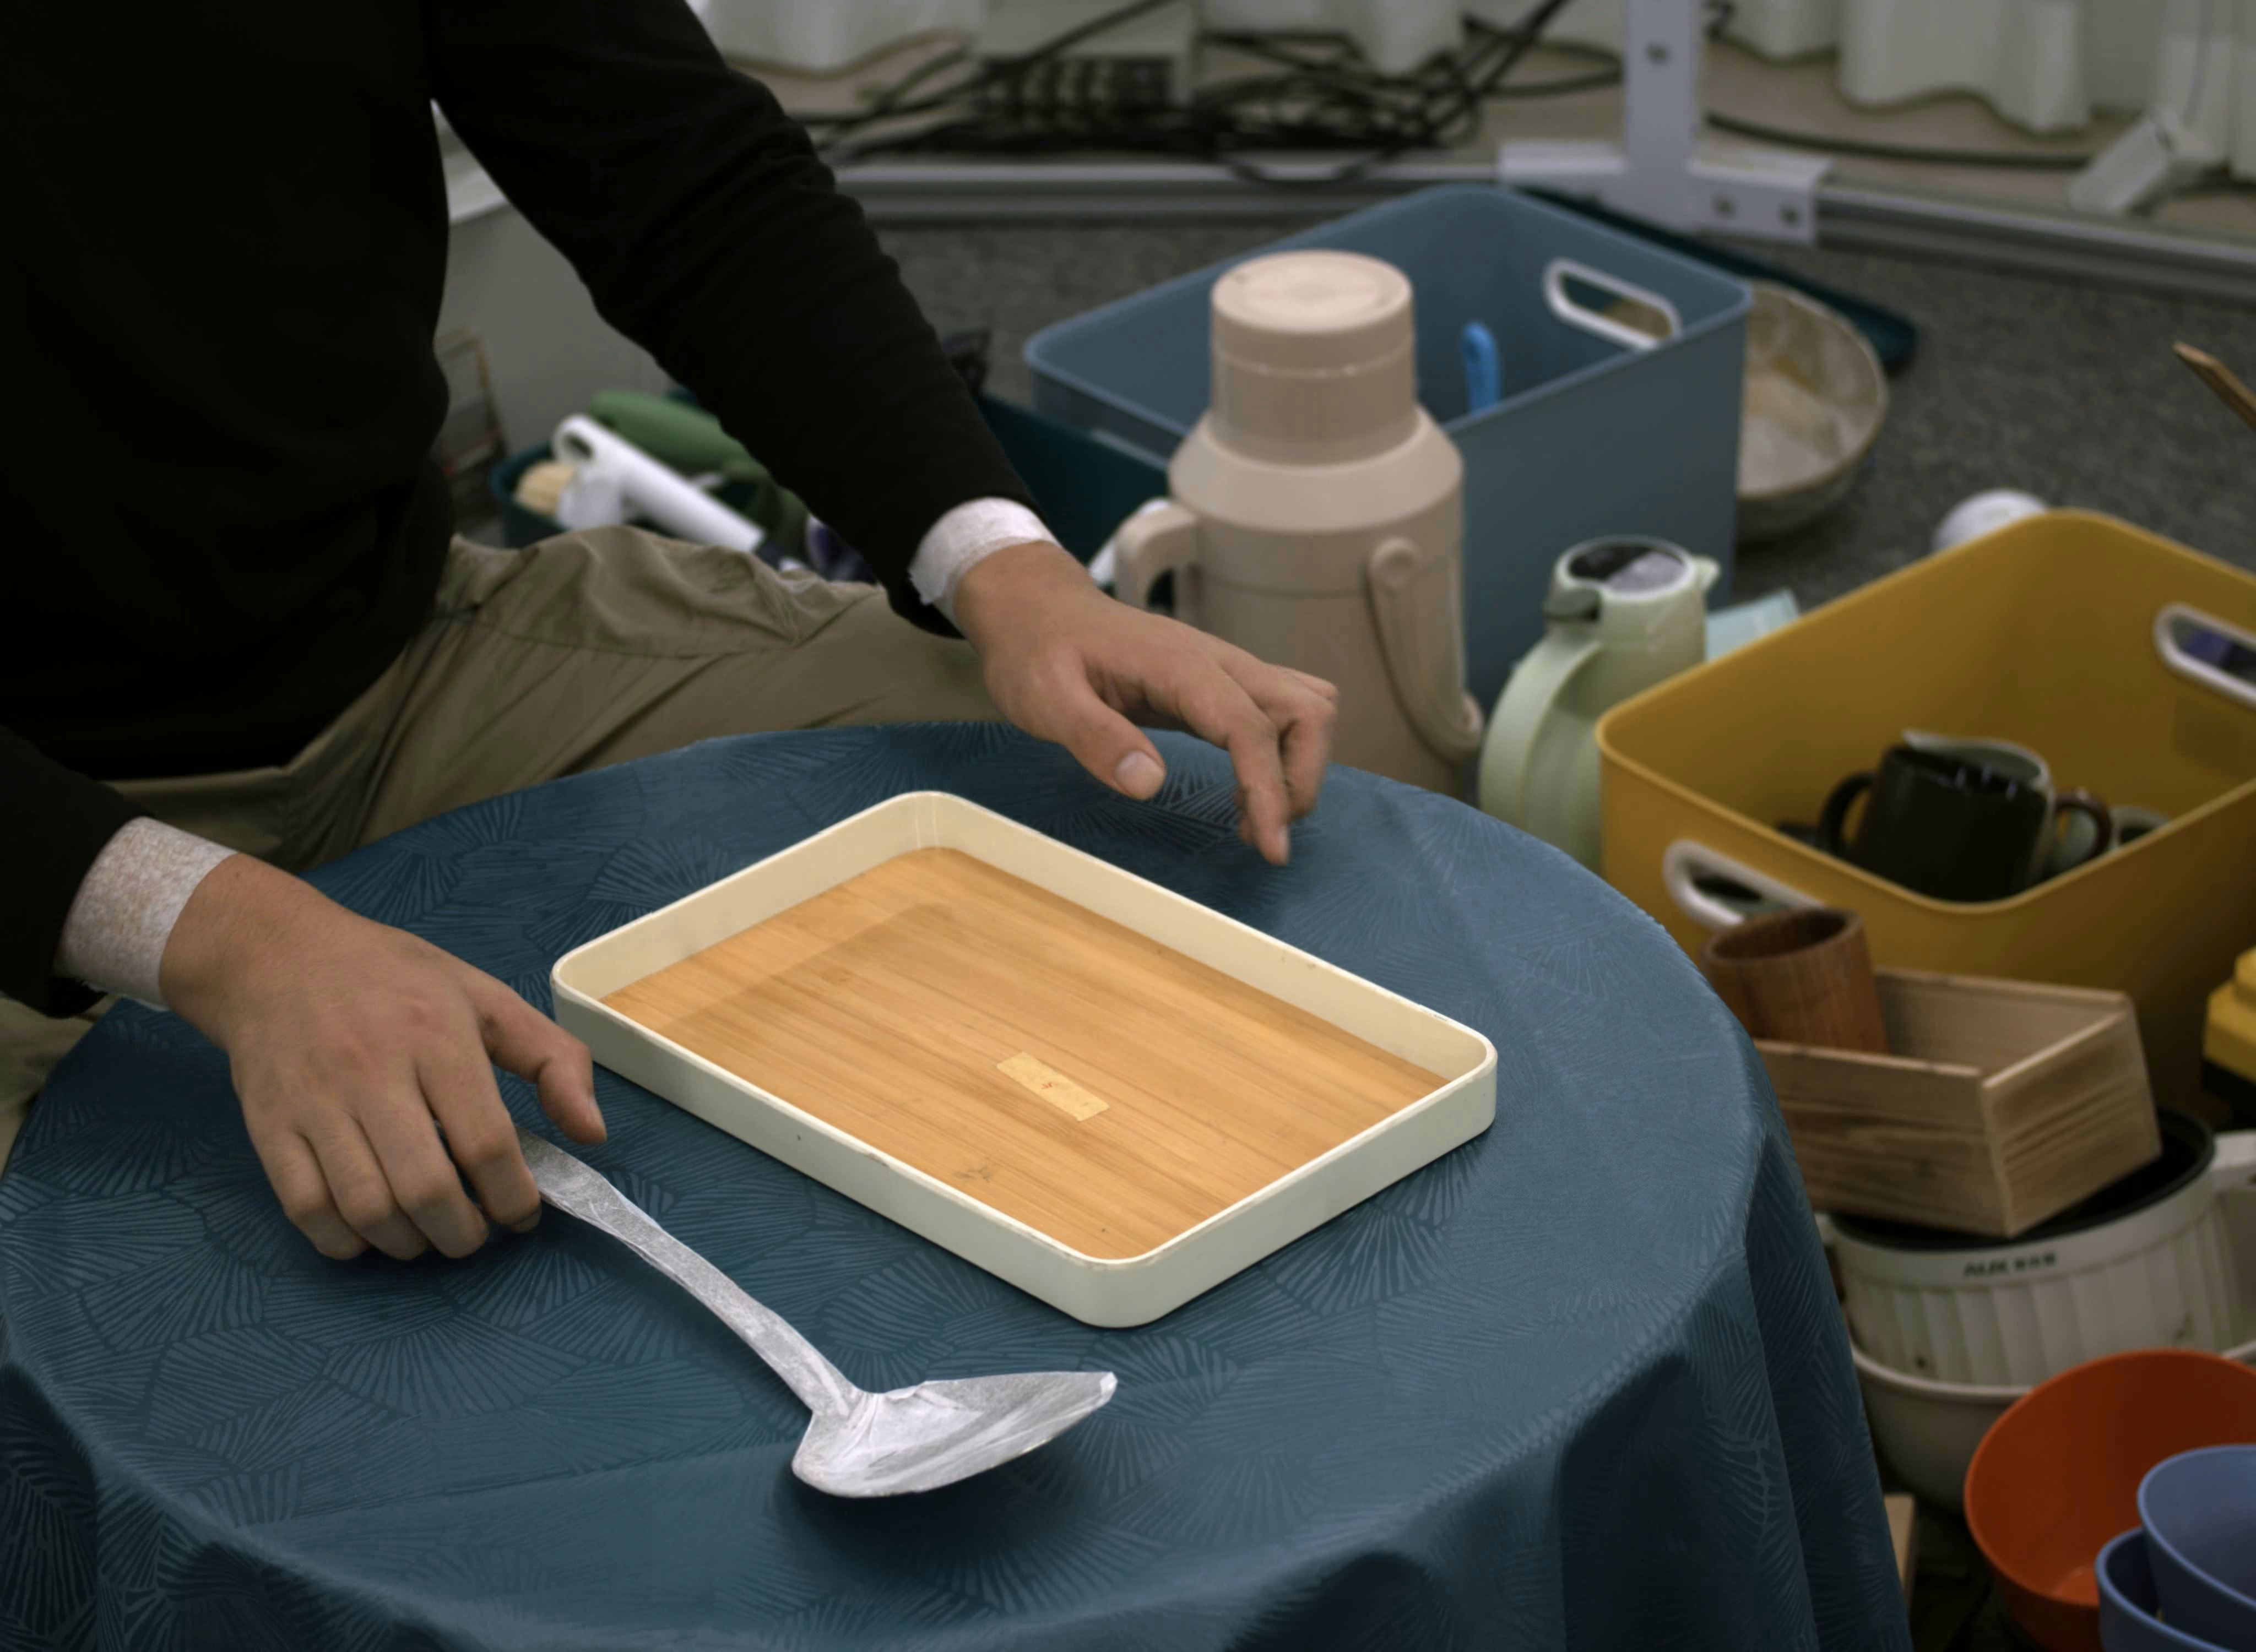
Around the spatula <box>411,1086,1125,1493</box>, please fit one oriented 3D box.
[{"bbox_3d":[-0.139,0.139,1.800,0.099,0.044,0.365,-22,33,-32],"label":"spatula"}]

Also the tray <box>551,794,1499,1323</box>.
[{"bbox_3d":[-0.038,0.074,1.927,0.194,0.027,0.300,-25,35,-37],"label":"tray"}]
